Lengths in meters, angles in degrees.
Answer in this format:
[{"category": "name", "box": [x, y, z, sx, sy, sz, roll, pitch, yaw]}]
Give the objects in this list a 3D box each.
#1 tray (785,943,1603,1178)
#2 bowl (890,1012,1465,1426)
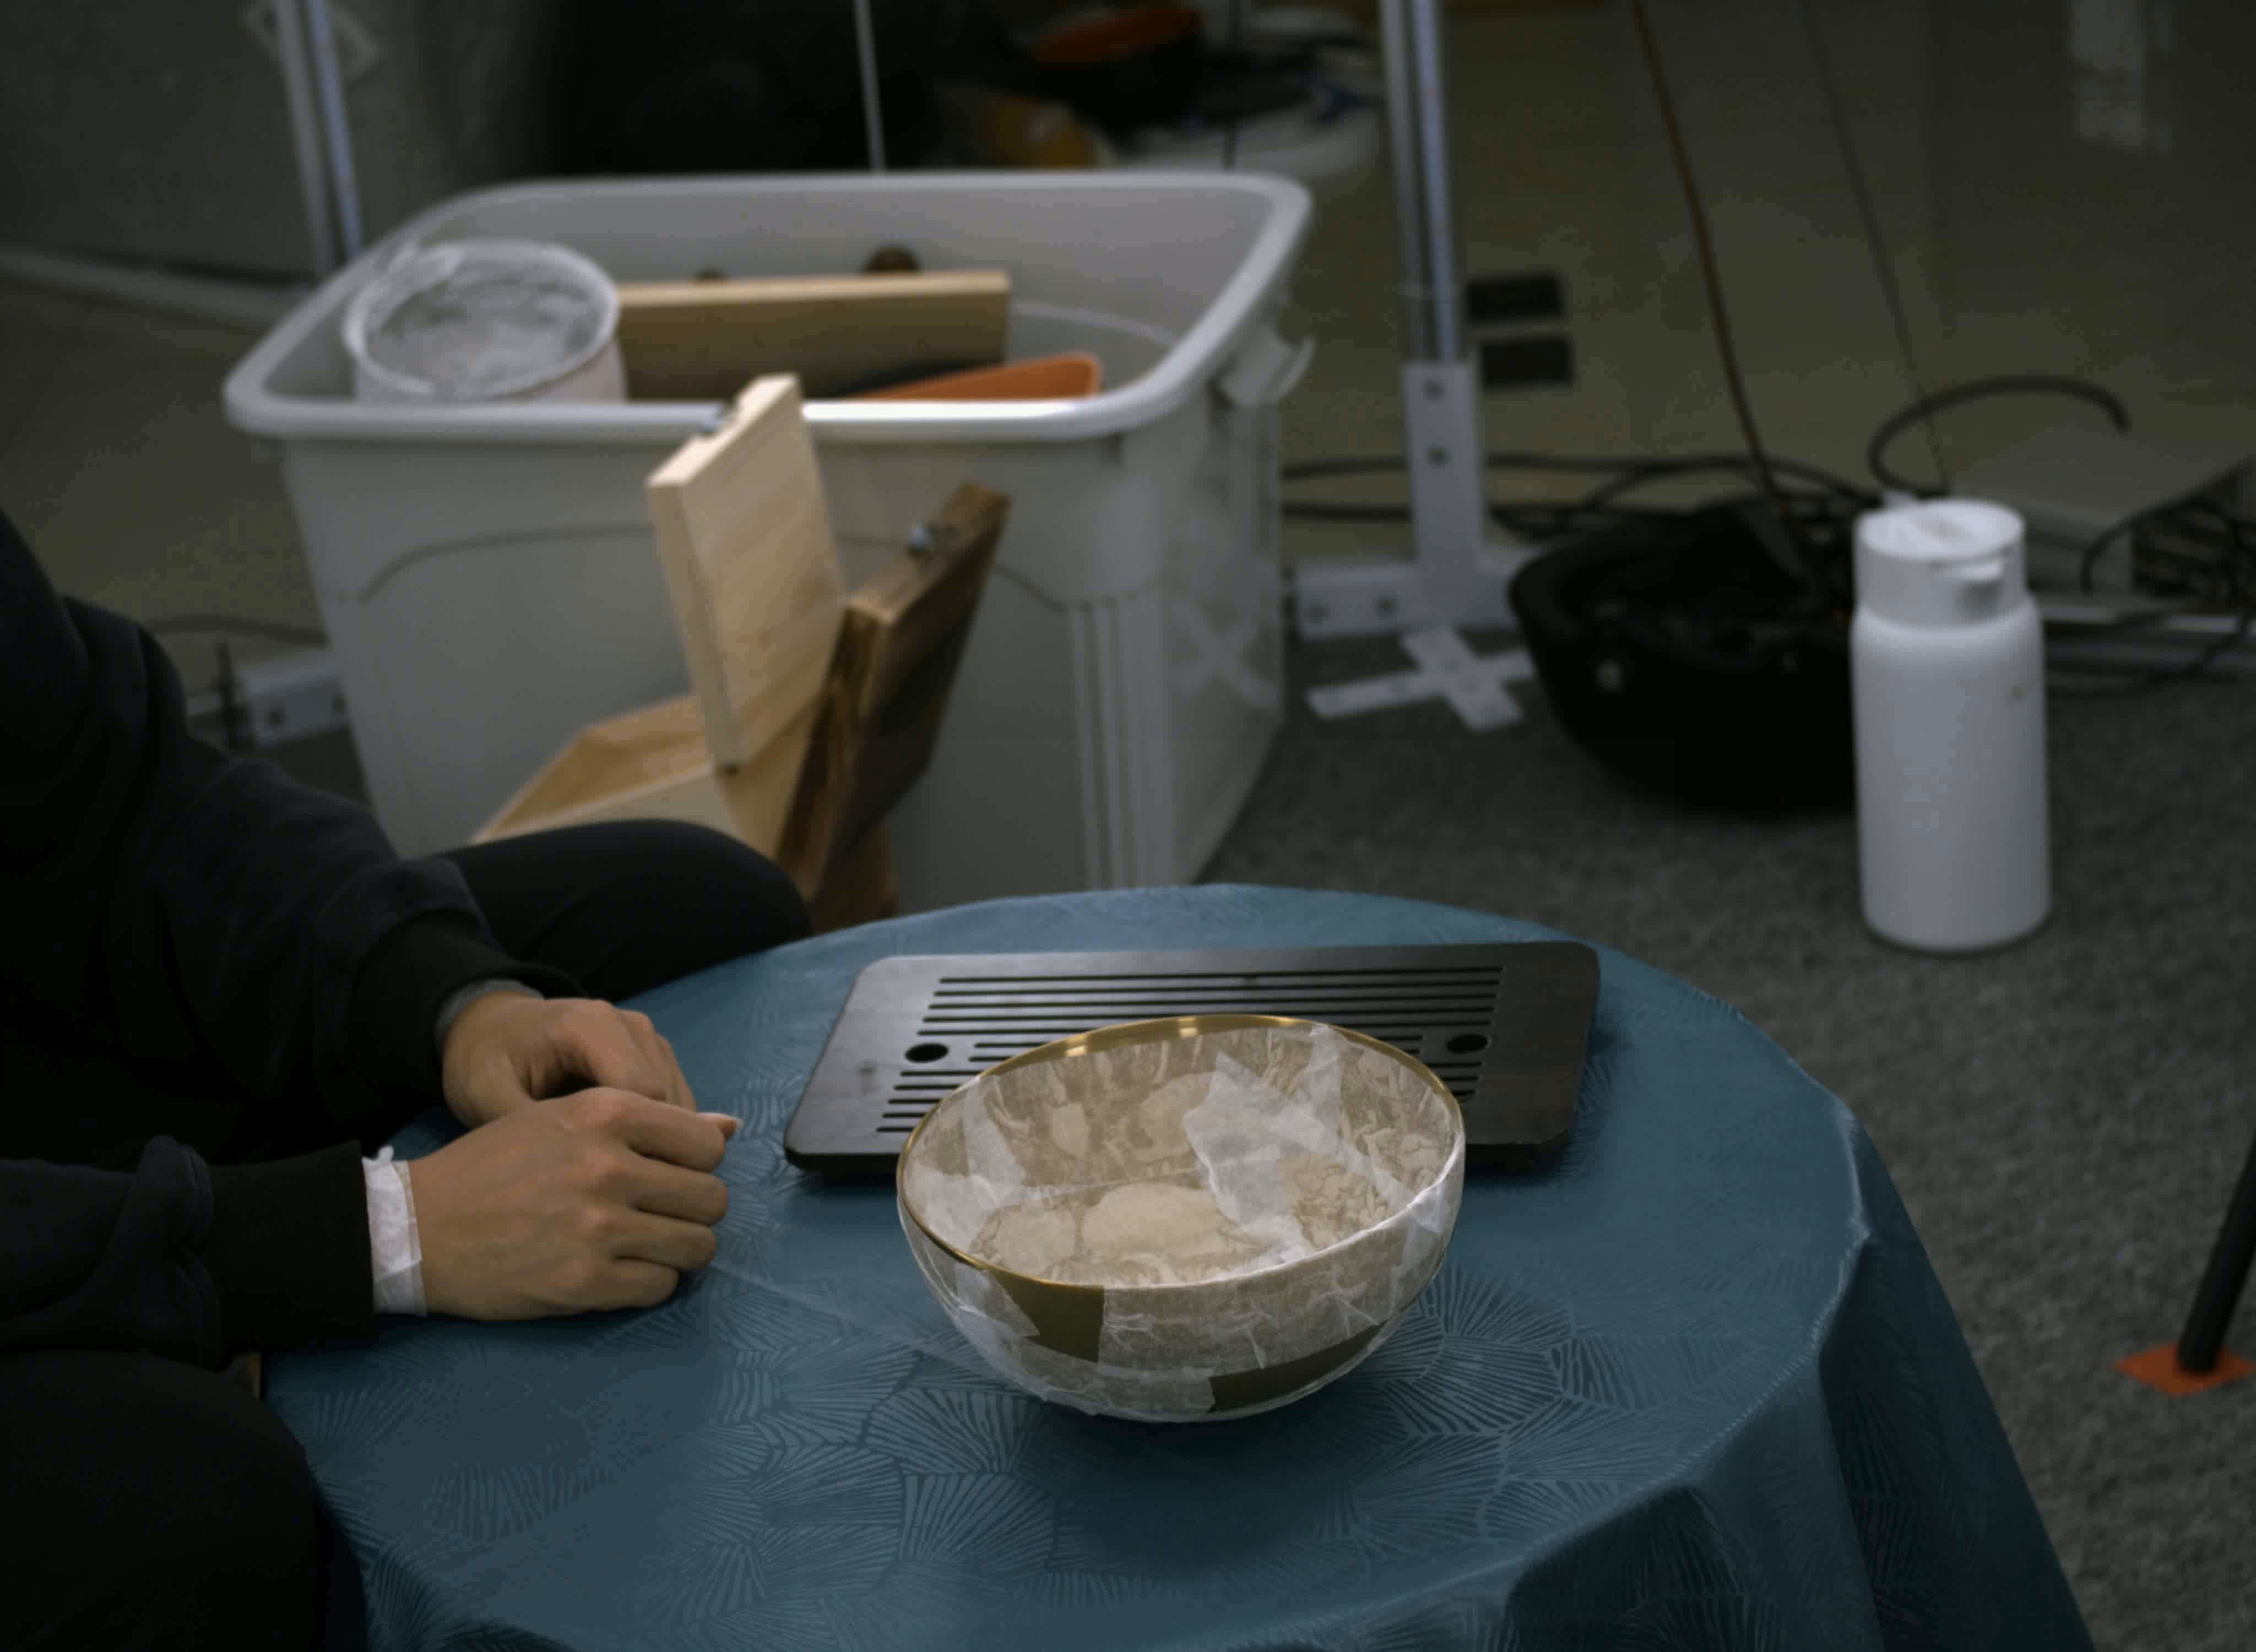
[{"category": "tray", "box": [0.029, 0.093, 2.224, 0.305, 0.019, 0.167, -2, 25, 11]}, {"category": "bowl", "box": [0.021, 0.150, 2.013, 0.214, 0.096, 0.211, -6, 26, 3]}]
